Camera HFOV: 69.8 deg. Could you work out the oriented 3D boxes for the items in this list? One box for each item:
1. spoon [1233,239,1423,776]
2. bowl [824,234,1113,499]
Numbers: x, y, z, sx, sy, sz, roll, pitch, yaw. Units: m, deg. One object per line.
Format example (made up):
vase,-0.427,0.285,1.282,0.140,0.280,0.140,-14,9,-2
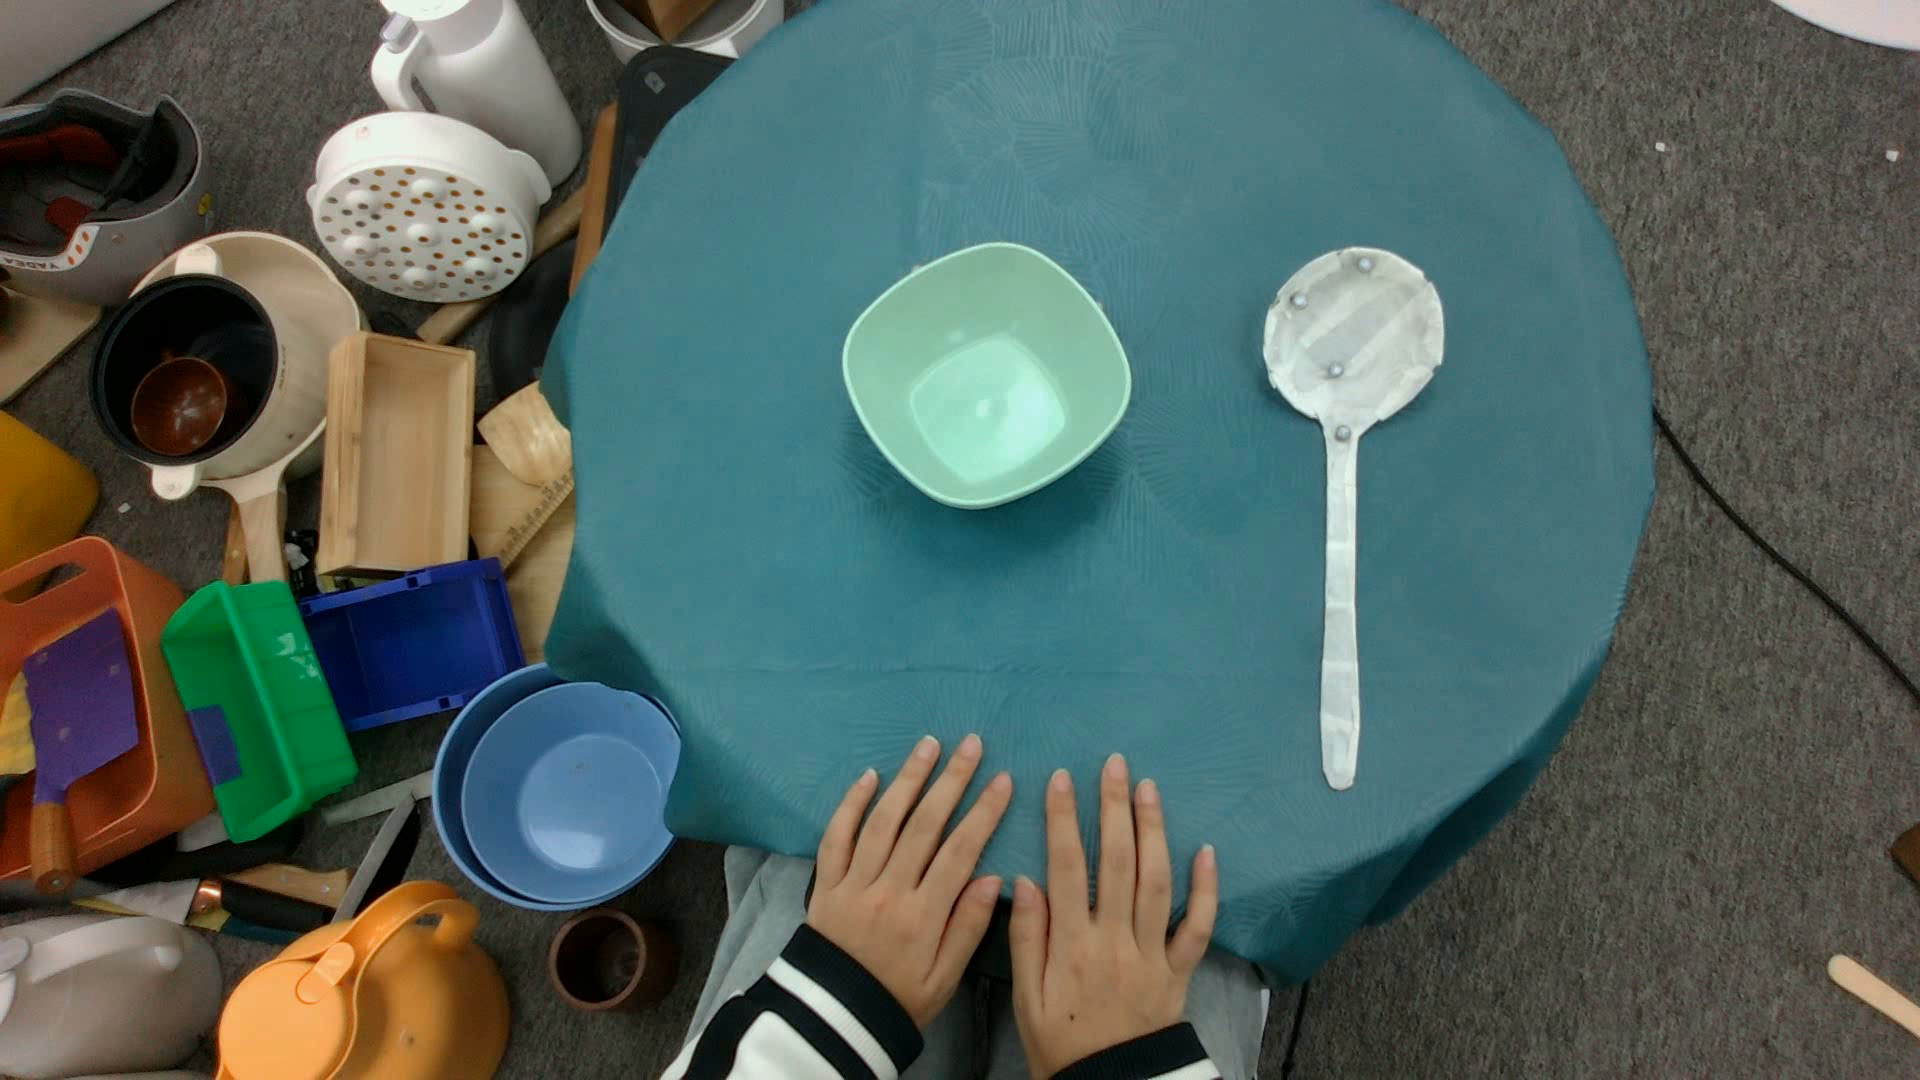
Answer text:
spoon,0.182,-0.021,0.709,0.100,0.059,0.278,7,71,8
bowl,0.005,-0.084,0.736,0.151,0.058,0.152,0,71,1
